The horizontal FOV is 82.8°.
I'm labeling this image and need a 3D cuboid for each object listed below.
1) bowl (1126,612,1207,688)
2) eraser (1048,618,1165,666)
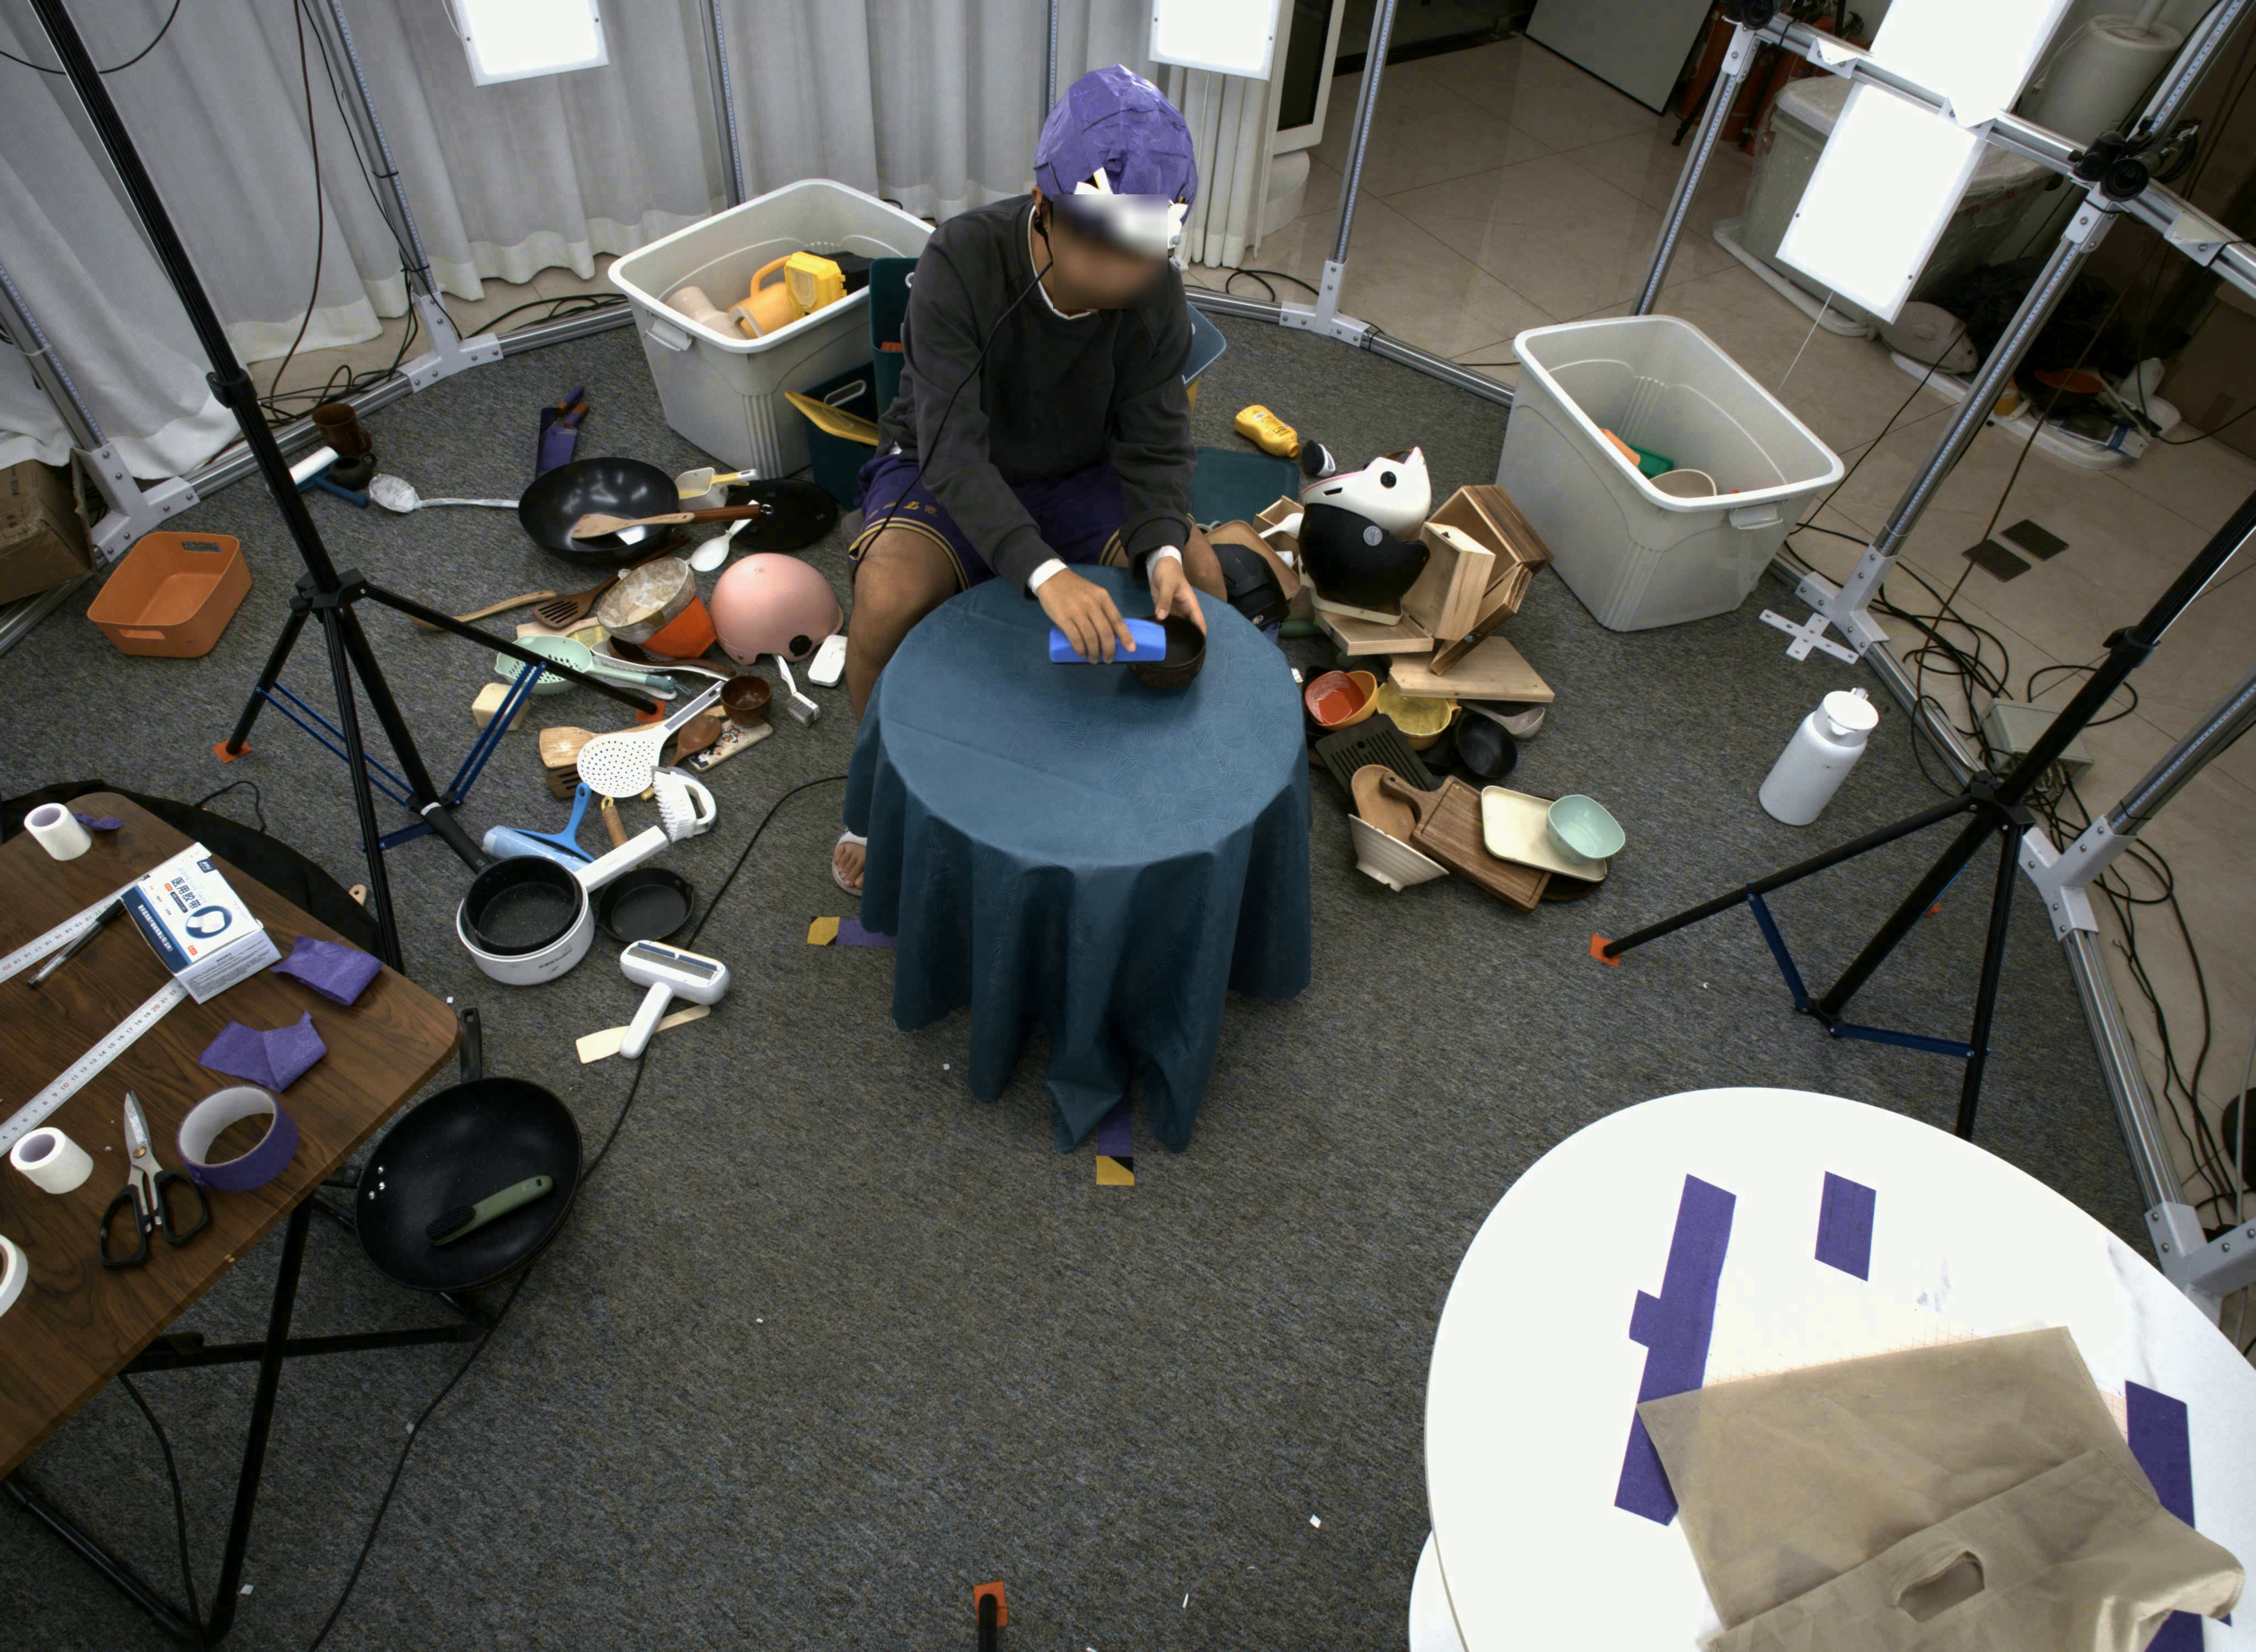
[{"bbox_3d":[0.052,-0.243,1.833,0.118,0.068,0.121,1,48,-1],"label":"bowl"},{"bbox_3d":[-0.030,-0.254,1.769,0.162,0.046,0.055,-1,50,0],"label":"eraser"}]
